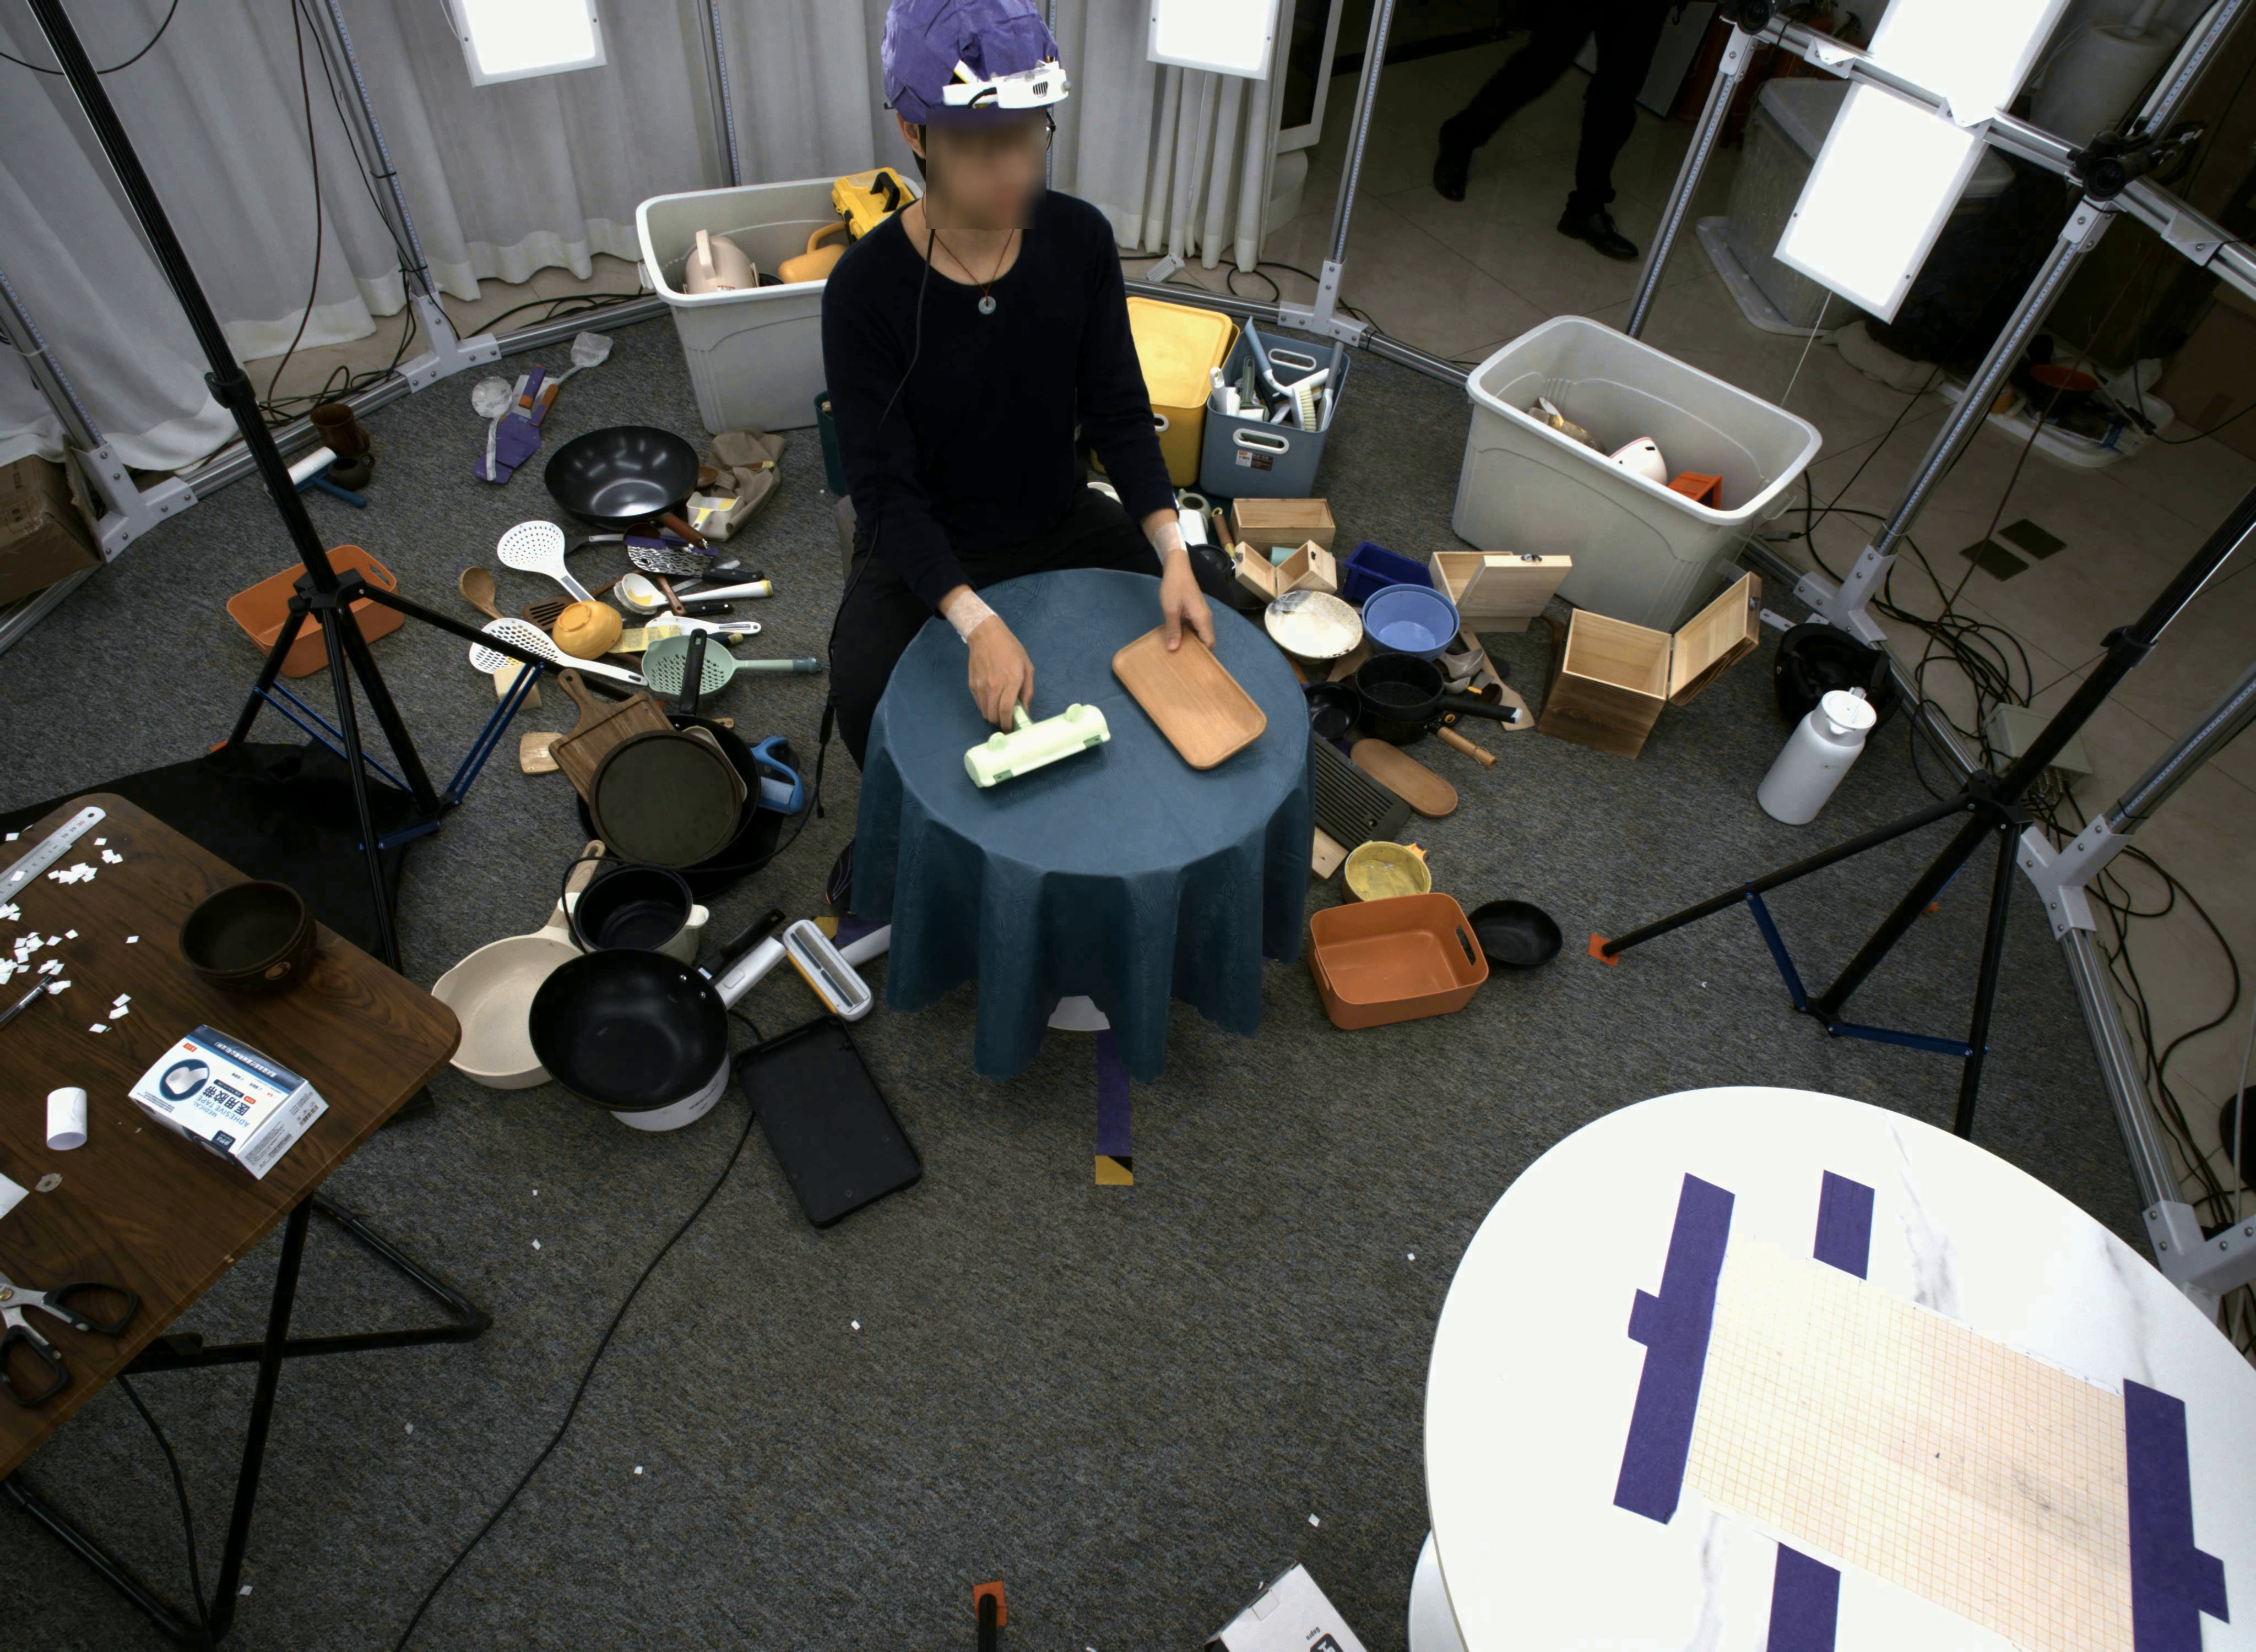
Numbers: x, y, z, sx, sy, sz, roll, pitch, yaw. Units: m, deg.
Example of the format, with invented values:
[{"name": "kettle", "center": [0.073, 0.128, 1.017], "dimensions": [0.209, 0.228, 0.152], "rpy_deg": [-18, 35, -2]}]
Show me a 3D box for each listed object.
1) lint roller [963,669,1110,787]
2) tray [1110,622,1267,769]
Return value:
[{"name": "lint roller", "center": [-0.149, -0.157, 1.729], "dimensions": [0.199, 0.080, 0.186], "rpy_deg": [-23, 67, -23]}, {"name": "tray", "center": [0.082, -0.186, 1.805], "dimensions": [0.131, 0.022, 0.256], "rpy_deg": [-30, 56, -10]}]
